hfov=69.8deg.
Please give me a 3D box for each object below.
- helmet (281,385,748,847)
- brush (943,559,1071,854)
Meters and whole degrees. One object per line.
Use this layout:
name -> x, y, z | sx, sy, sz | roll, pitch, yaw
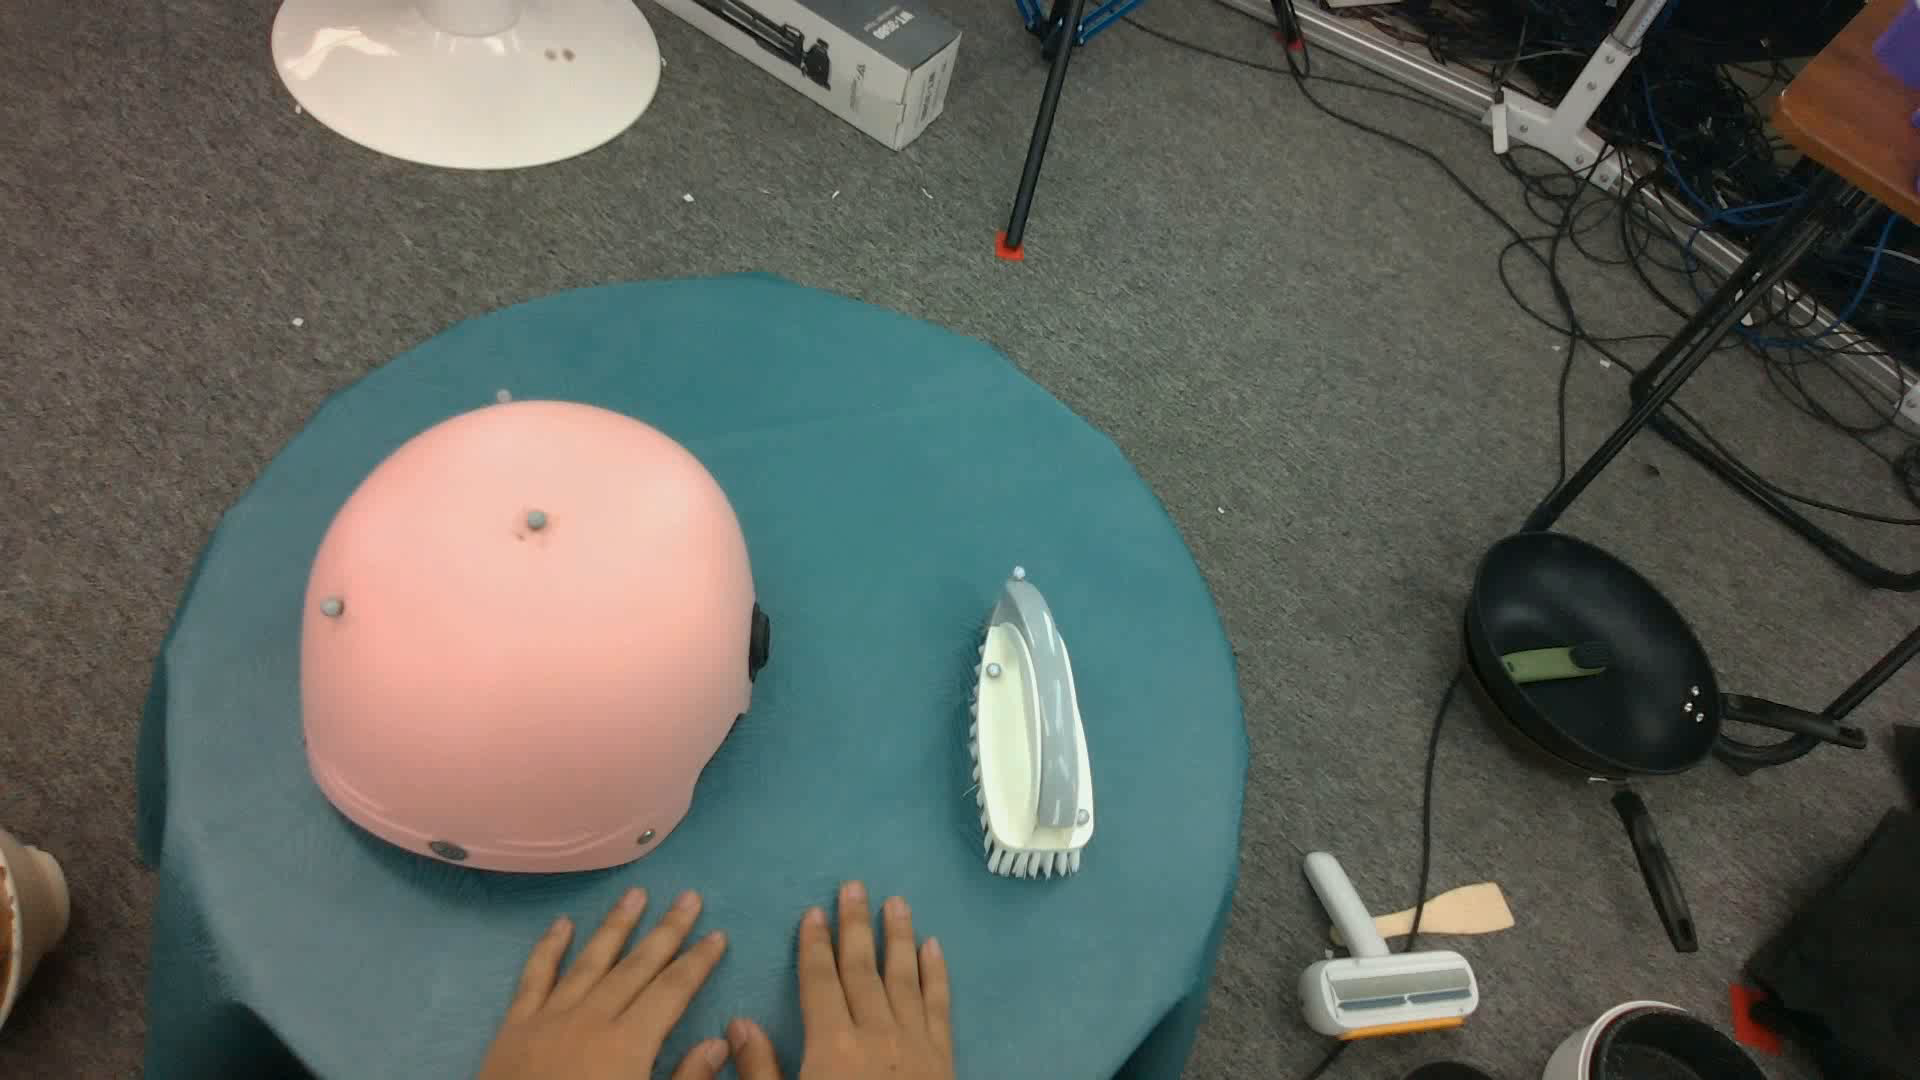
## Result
helmet -> -0.221, 0.012, 0.699 | 0.234, 0.158, 0.267 | 15, 49, -5
brush -> 0.027, 0.076, 0.763 | 0.061, 0.093, 0.176 | 3, 53, -15
